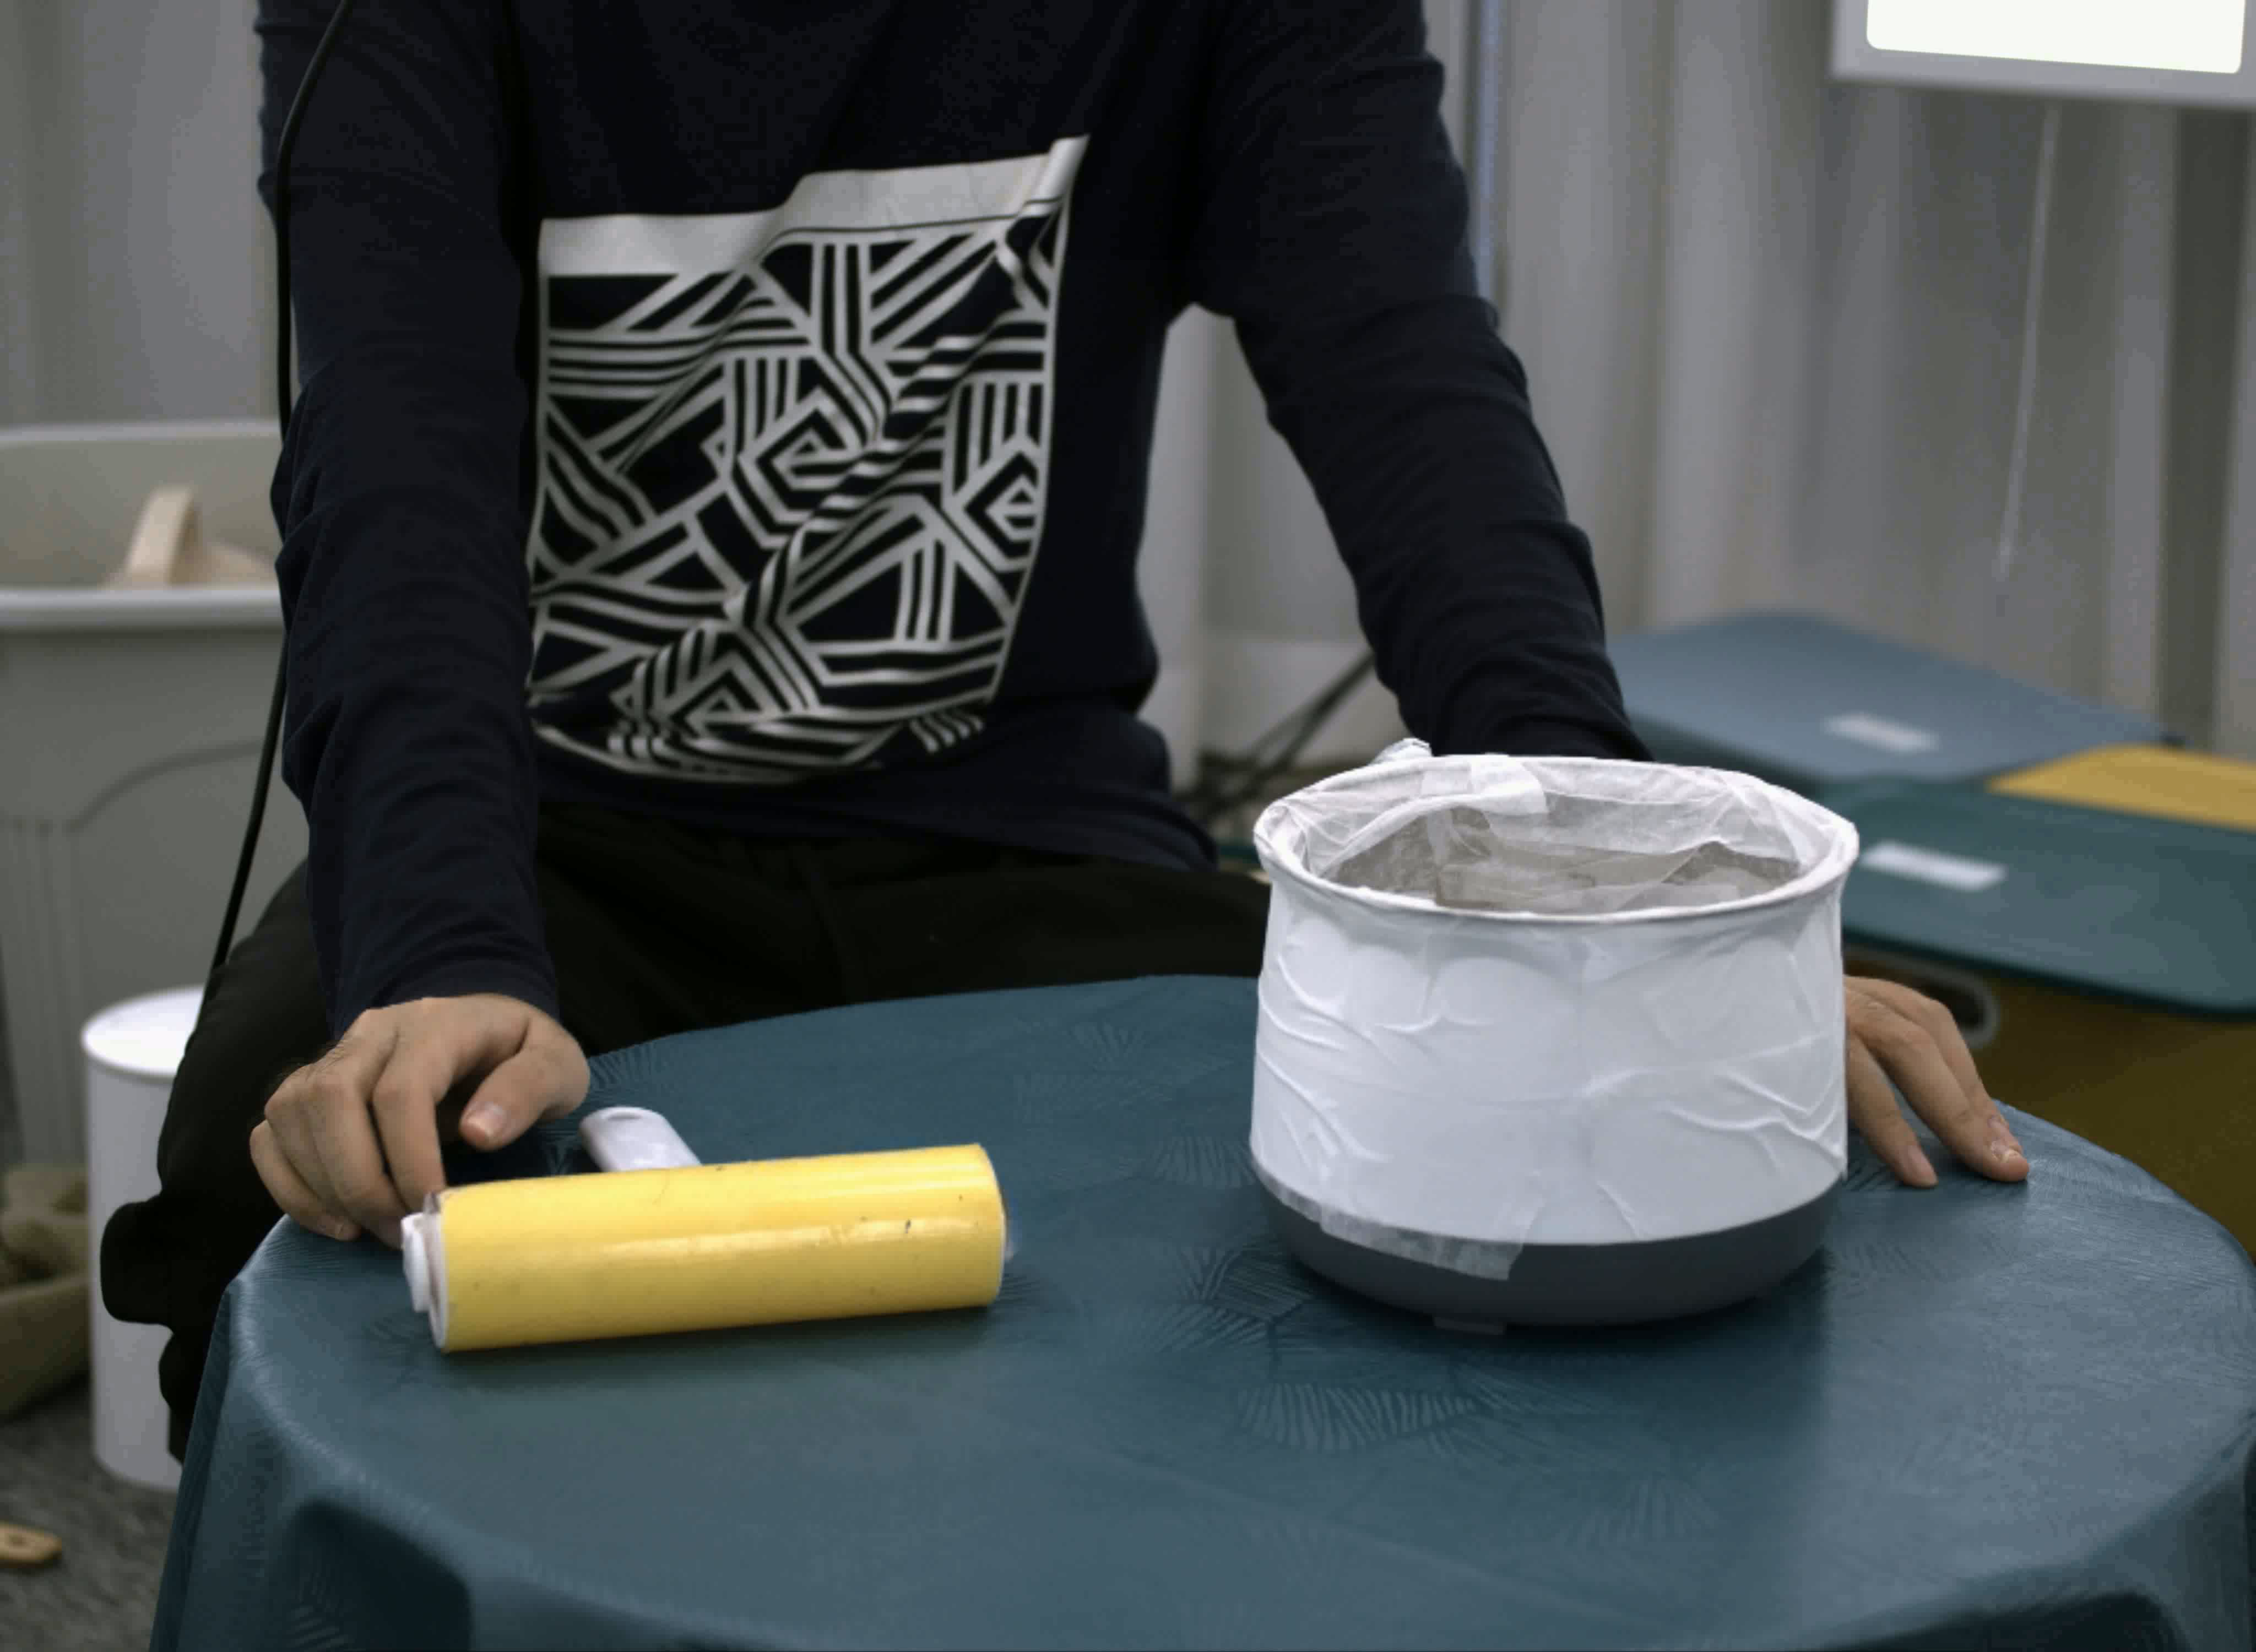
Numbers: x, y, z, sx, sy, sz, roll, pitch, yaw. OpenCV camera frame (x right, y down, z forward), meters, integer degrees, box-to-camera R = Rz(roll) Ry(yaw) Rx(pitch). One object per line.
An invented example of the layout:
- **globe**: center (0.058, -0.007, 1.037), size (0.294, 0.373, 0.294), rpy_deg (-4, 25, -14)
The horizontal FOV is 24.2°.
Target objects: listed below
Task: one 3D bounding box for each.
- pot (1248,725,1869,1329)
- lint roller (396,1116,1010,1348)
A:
- **pot**: center (0.113, 0.054, 1.574), size (0.179, 0.138, 0.231), rpy_deg (-5, 18, -24)
- **lint roller**: center (-0.139, 0.102, 1.567), size (0.174, 0.052, 0.190), rpy_deg (-3, 17, -16)
